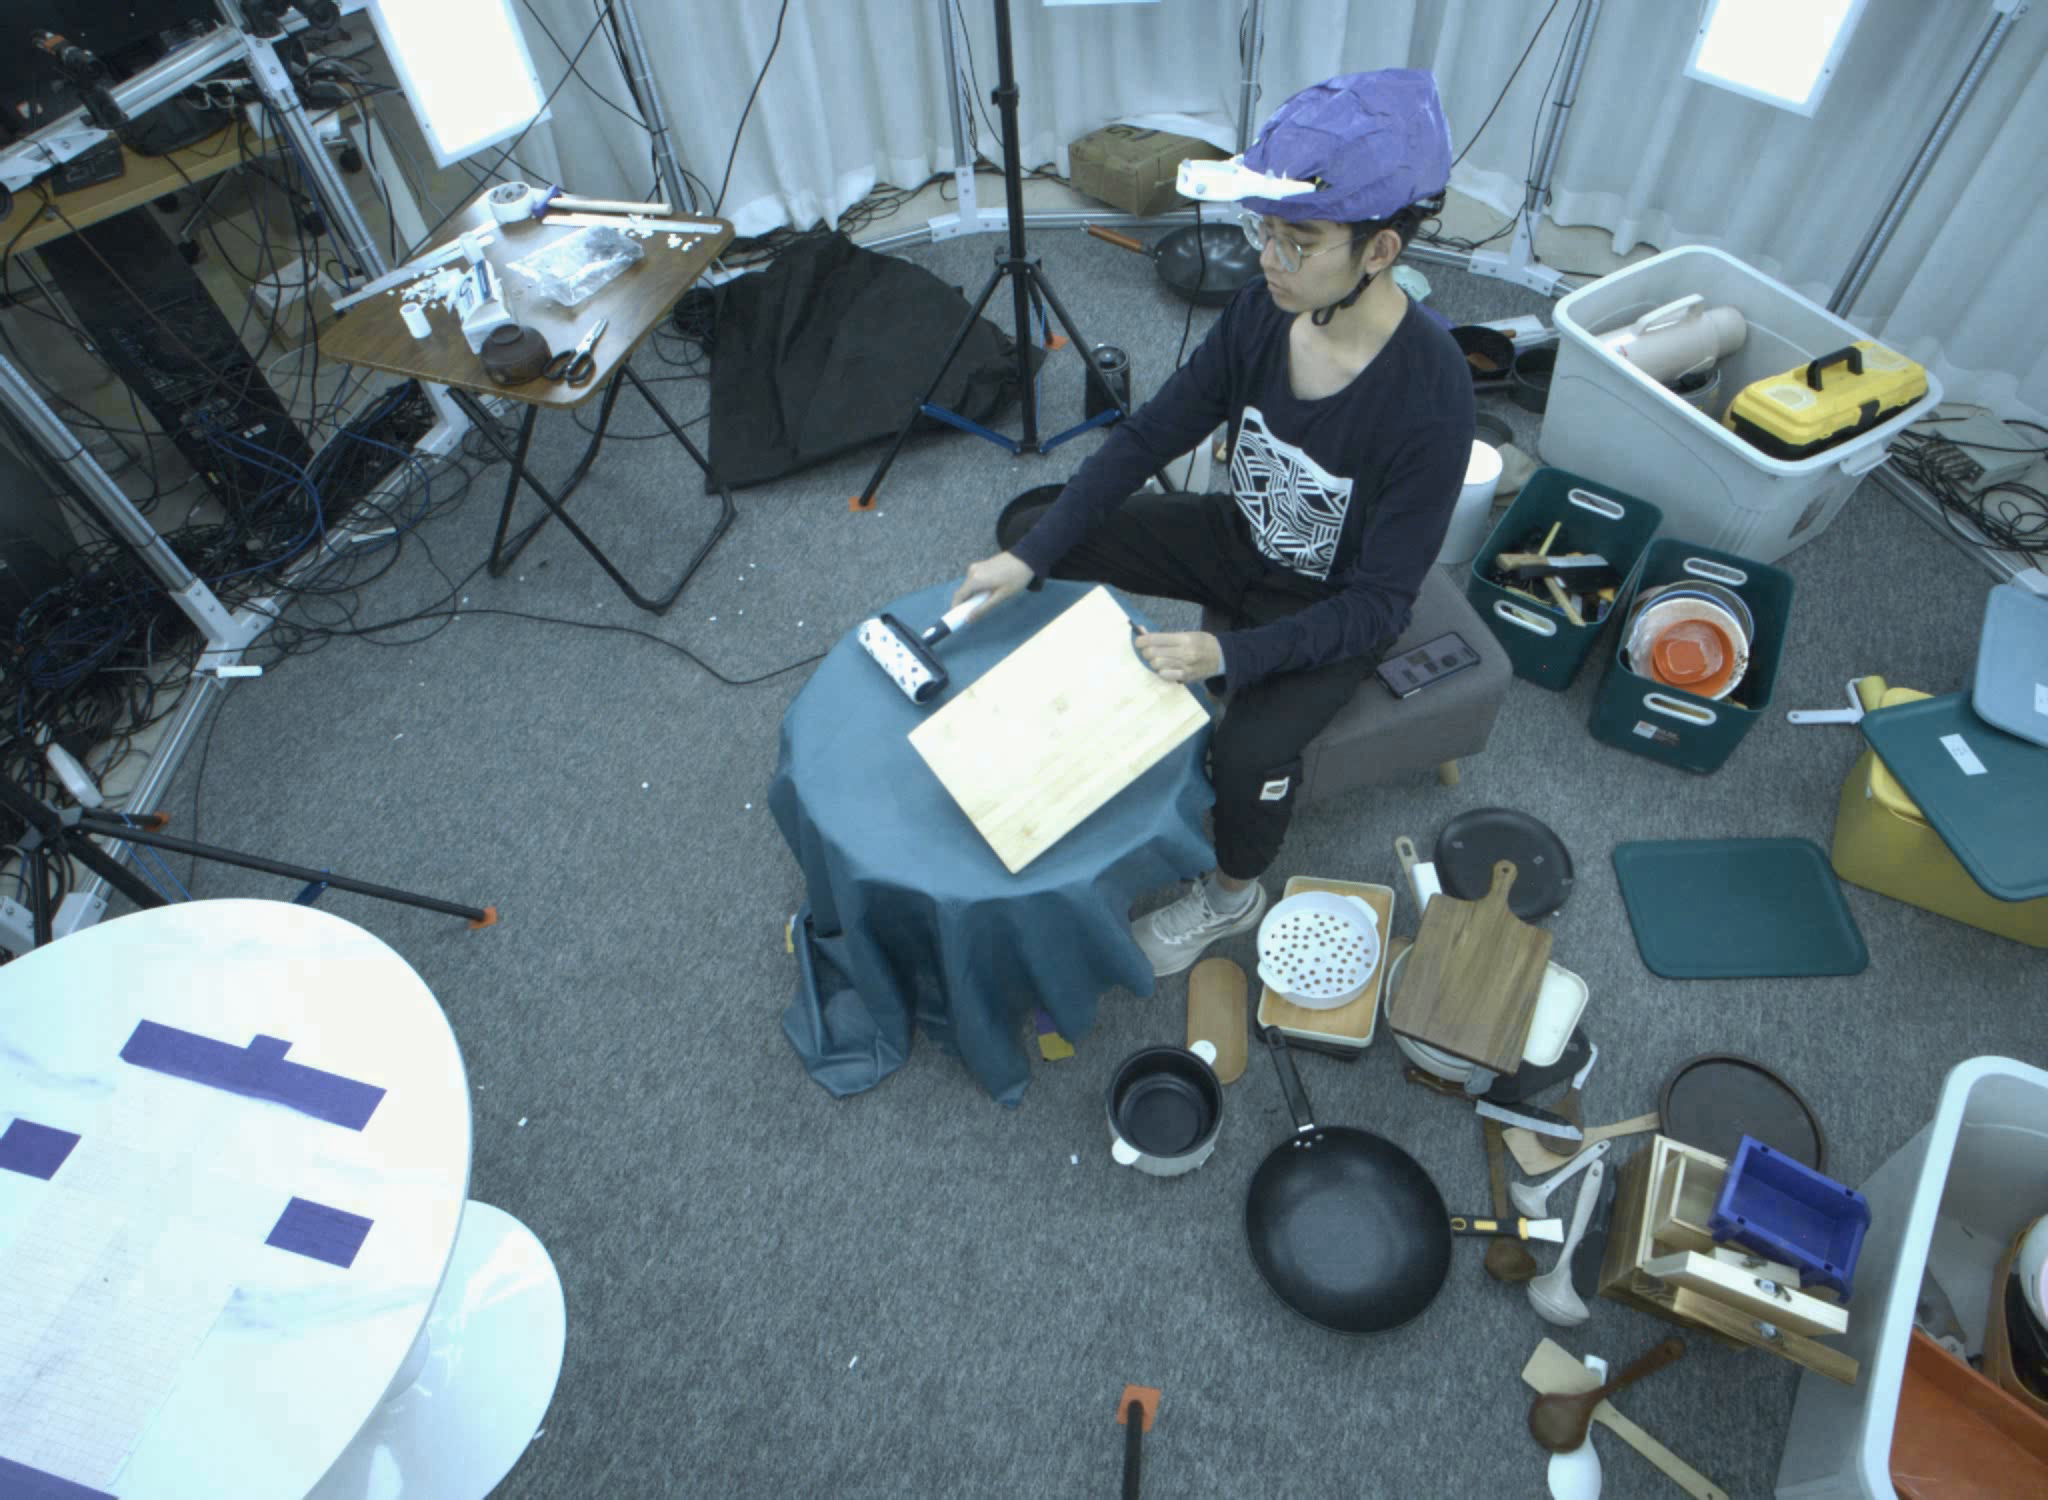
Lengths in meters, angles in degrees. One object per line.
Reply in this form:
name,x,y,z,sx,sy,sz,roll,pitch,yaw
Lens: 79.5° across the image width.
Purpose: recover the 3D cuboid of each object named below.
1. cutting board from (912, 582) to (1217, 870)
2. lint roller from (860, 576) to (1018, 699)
cutting board,0.052,-0.035,1.685,0.349,0.023,0.250,-38,86,-2
lint roller,-0.114,-0.200,1.884,0.248,0.051,0.172,-38,57,-12
